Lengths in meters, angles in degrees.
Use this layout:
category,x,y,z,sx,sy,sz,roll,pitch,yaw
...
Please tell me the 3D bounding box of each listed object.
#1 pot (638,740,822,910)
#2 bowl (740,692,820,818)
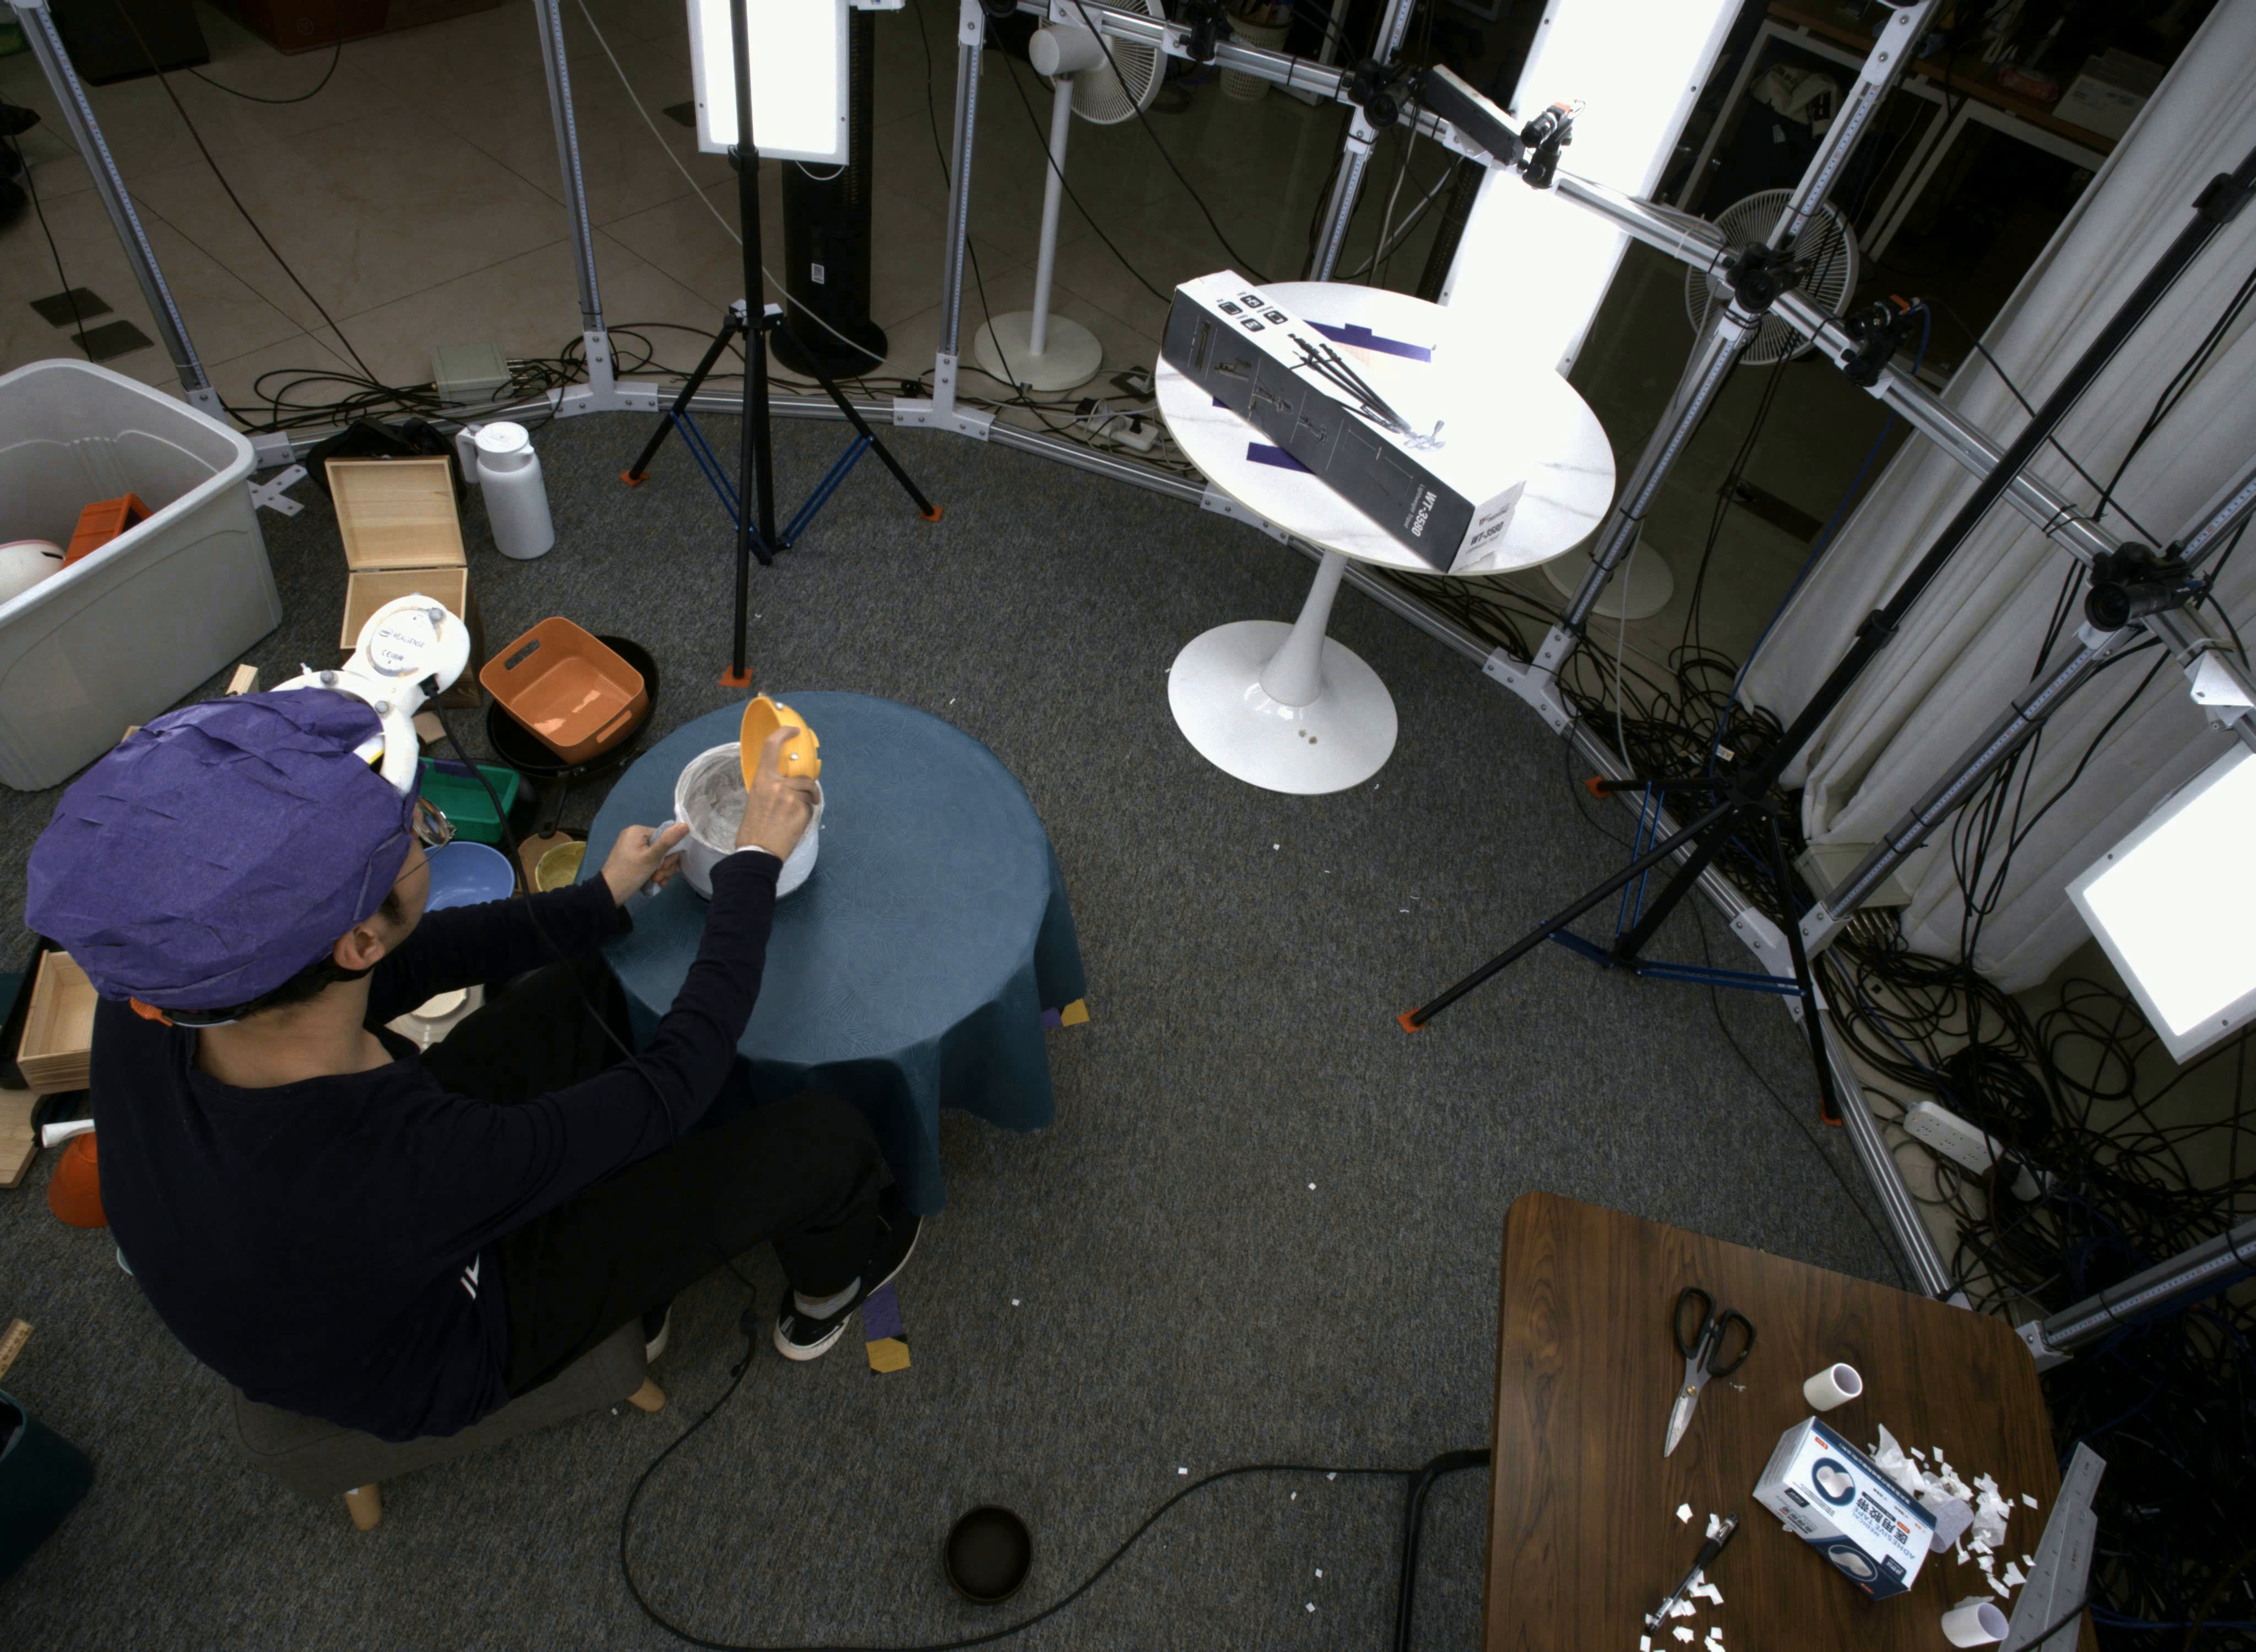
category,x,y,z,sx,sy,sz,roll,pitch,yaw
pot,-0.498,0.011,1.609,0.235,0.139,0.174,-26,64,-33
bowl,-0.403,-0.085,1.521,0.061,0.147,0.141,-8,53,-37
